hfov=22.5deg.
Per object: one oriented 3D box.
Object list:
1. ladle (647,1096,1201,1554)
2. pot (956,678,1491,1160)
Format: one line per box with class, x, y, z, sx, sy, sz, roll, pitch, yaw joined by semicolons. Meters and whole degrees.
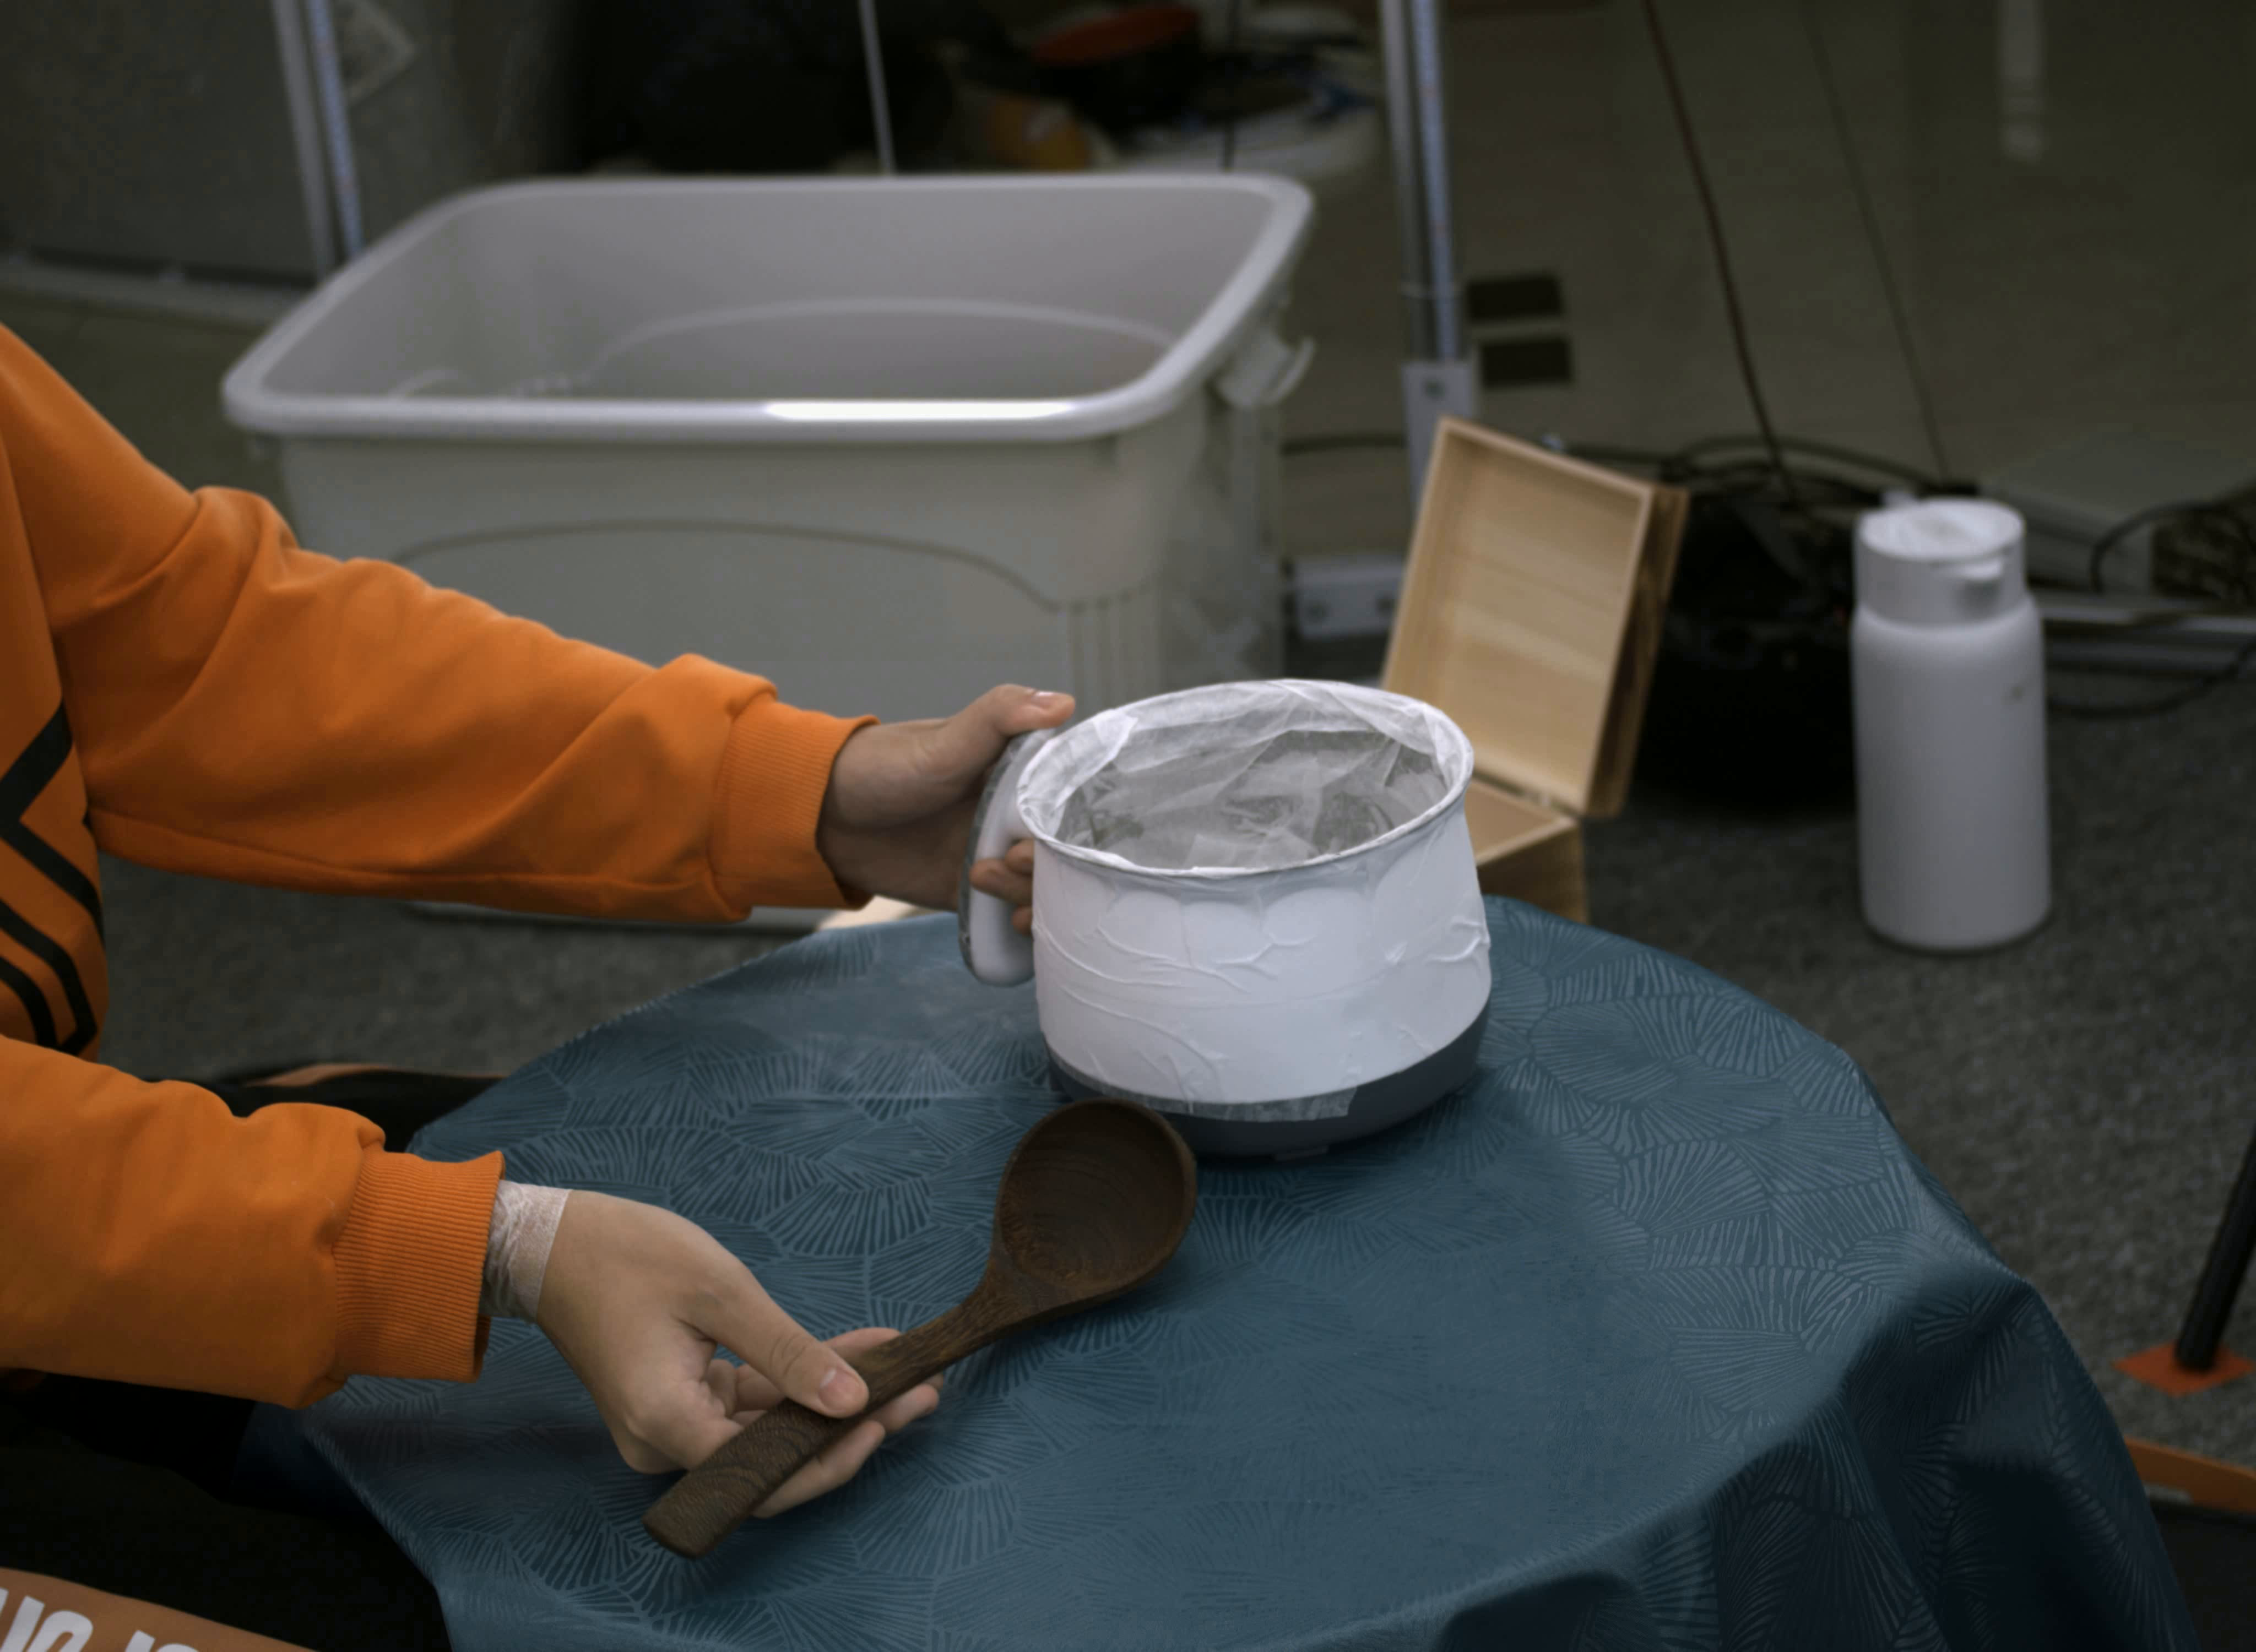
ladle;-0.071;0.171;1.995;0.075;0.072;0.271;28;33;25
pot;0.028;0.032;2.204;0.232;0.139;0.177;13;31;34
